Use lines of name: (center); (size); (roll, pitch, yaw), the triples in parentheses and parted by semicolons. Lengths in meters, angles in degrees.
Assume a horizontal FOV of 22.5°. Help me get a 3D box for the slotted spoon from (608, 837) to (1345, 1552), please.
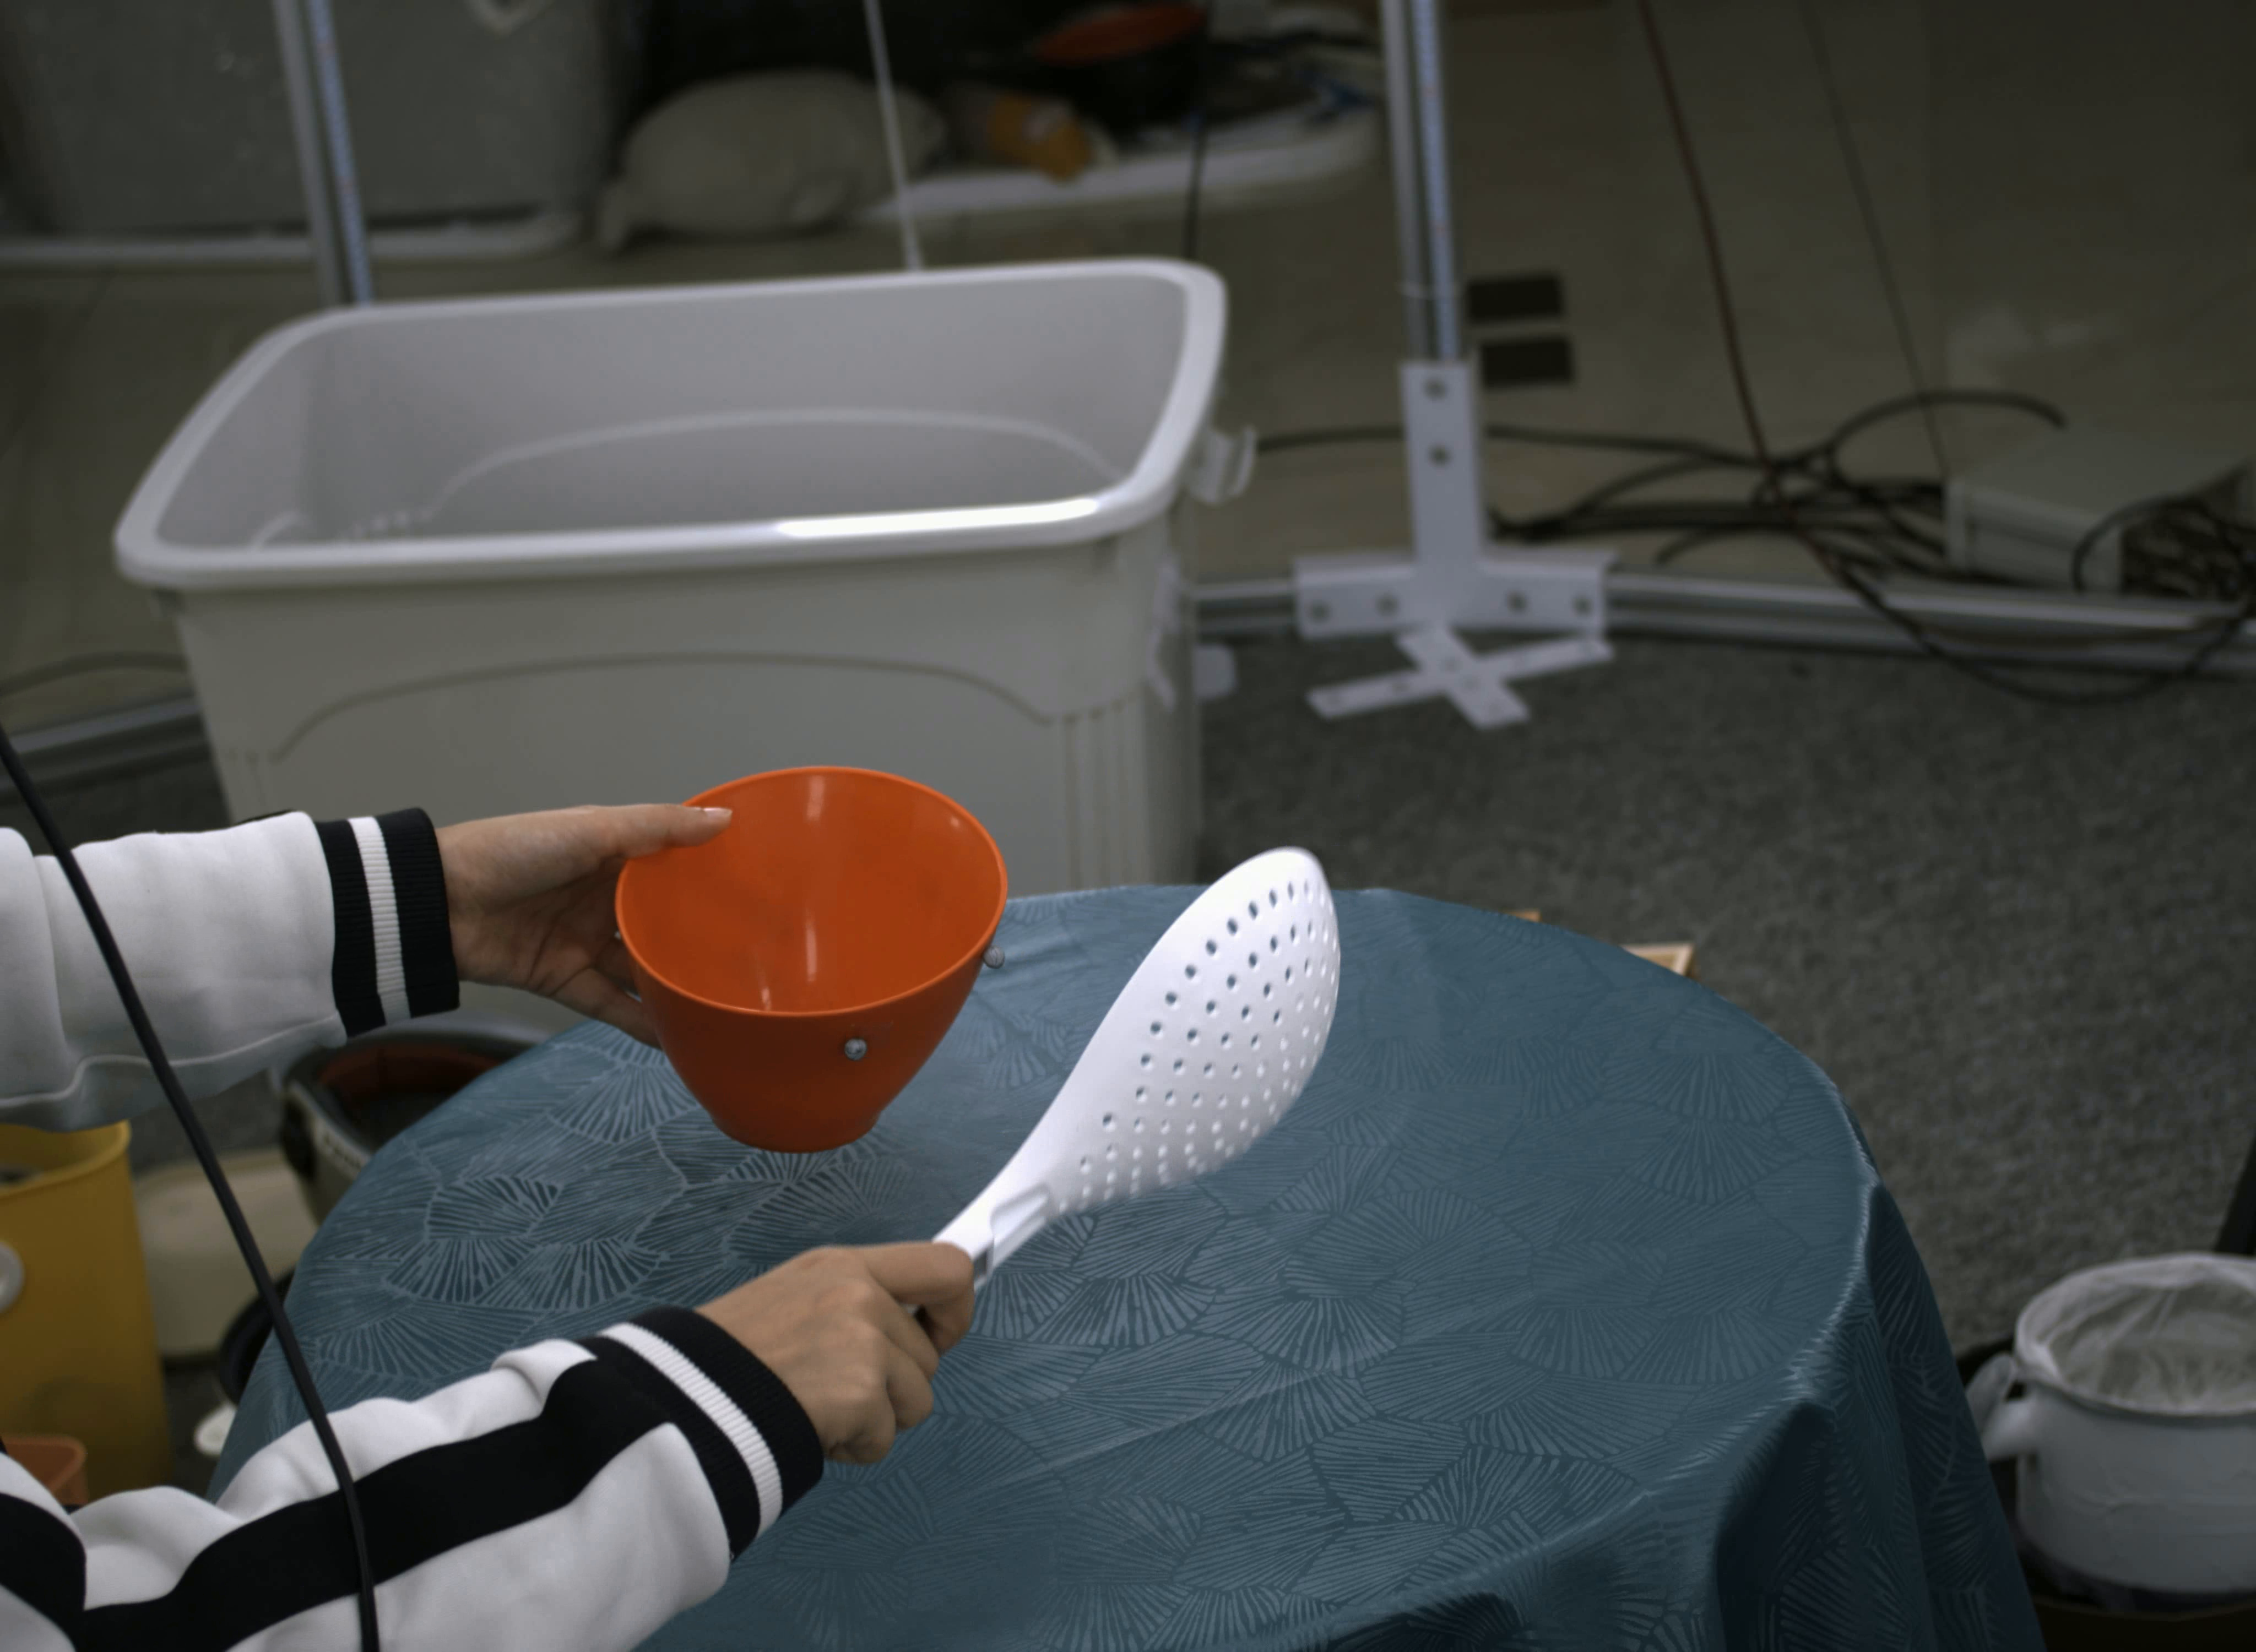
slotted spoon: (-0.043, 0.123, 1.869); (0.346, 0.138, 0.045); (-35, 68, -27)

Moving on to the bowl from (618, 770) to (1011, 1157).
bowl: (-0.121, 0.059, 2.152); (0.148, 0.106, 0.145); (3, 32, -2)
